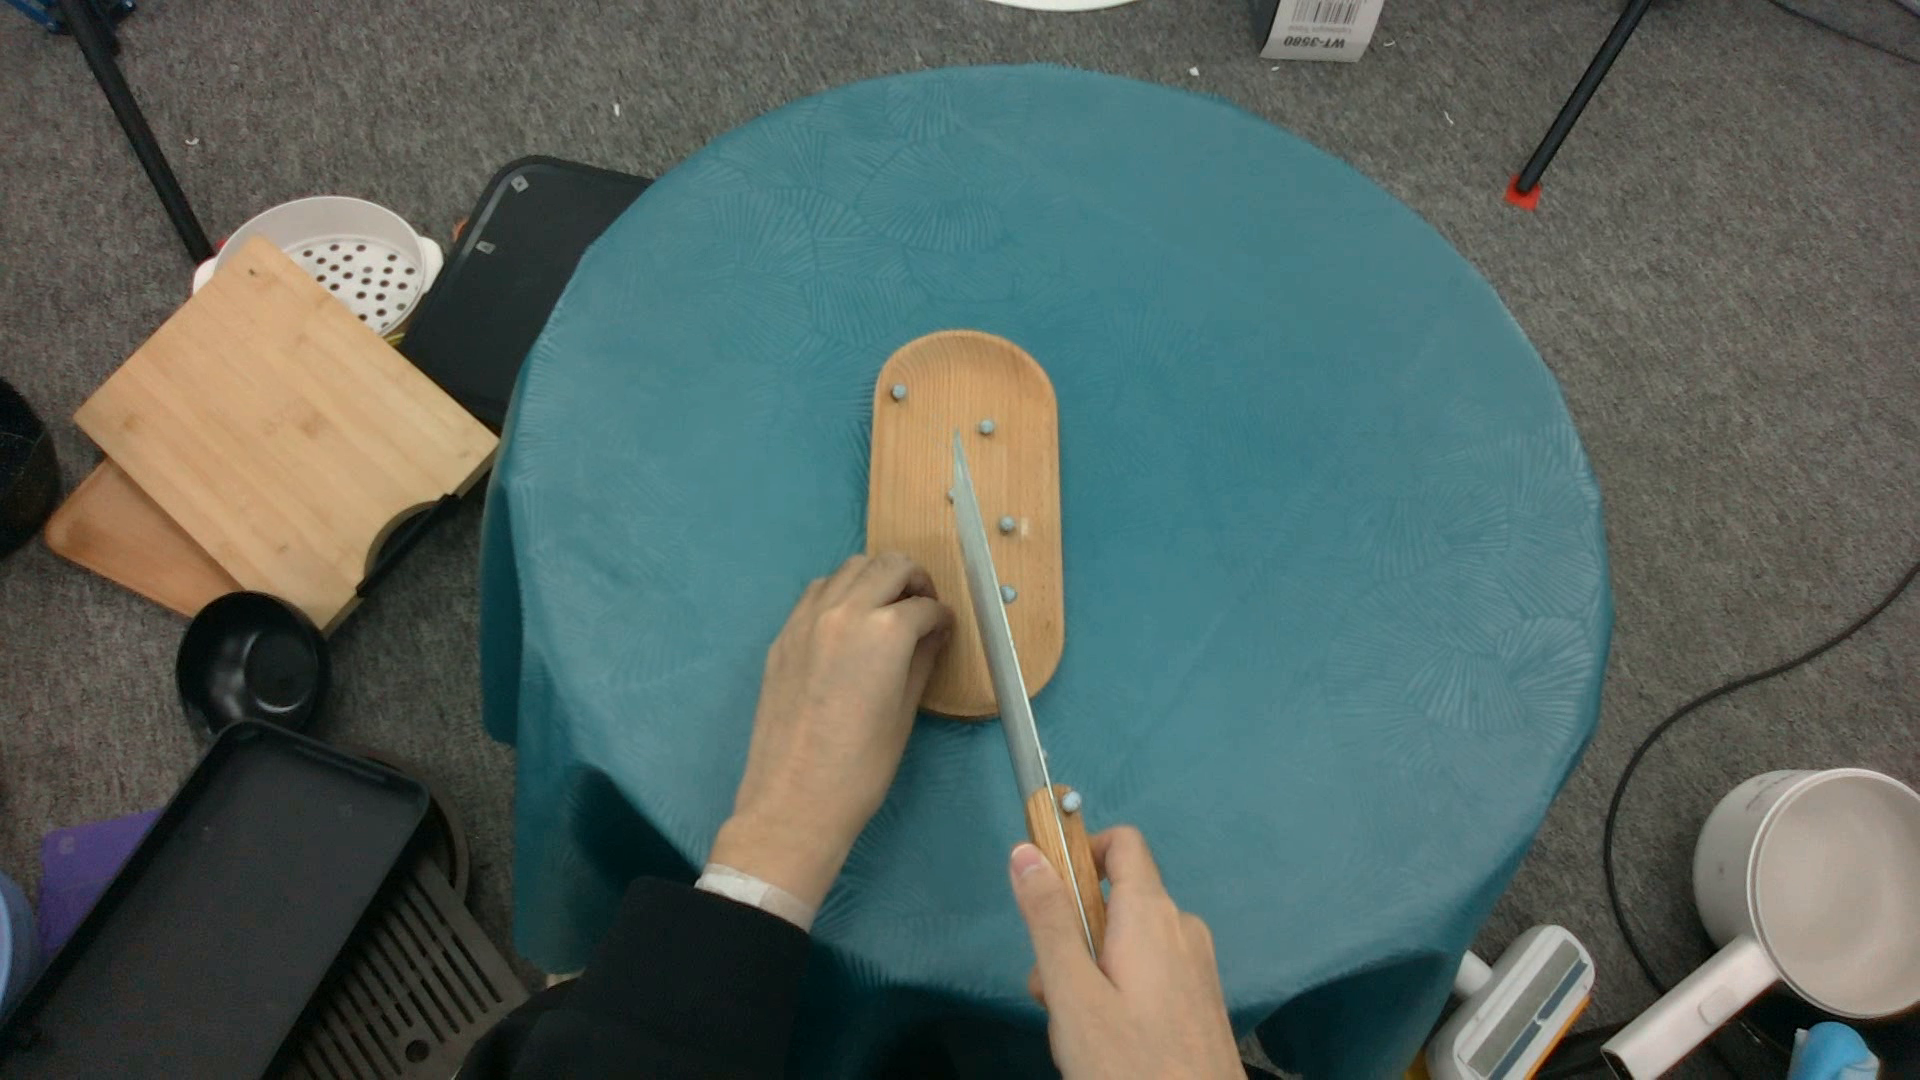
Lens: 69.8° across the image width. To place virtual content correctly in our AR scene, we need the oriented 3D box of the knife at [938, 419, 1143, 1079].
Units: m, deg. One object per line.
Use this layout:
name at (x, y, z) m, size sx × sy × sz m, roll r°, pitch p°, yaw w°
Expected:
knife at (0.024, 0.089, 0.589) m, size 0.021 × 0.092 × 0.307 m, roll -10°, pitch 58°, yaw -8°

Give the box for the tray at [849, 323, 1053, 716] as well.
tray at (-0.004, -0.017, 0.713) m, size 0.102 × 0.020 × 0.232 m, roll 3°, pitch 61°, yaw -5°
